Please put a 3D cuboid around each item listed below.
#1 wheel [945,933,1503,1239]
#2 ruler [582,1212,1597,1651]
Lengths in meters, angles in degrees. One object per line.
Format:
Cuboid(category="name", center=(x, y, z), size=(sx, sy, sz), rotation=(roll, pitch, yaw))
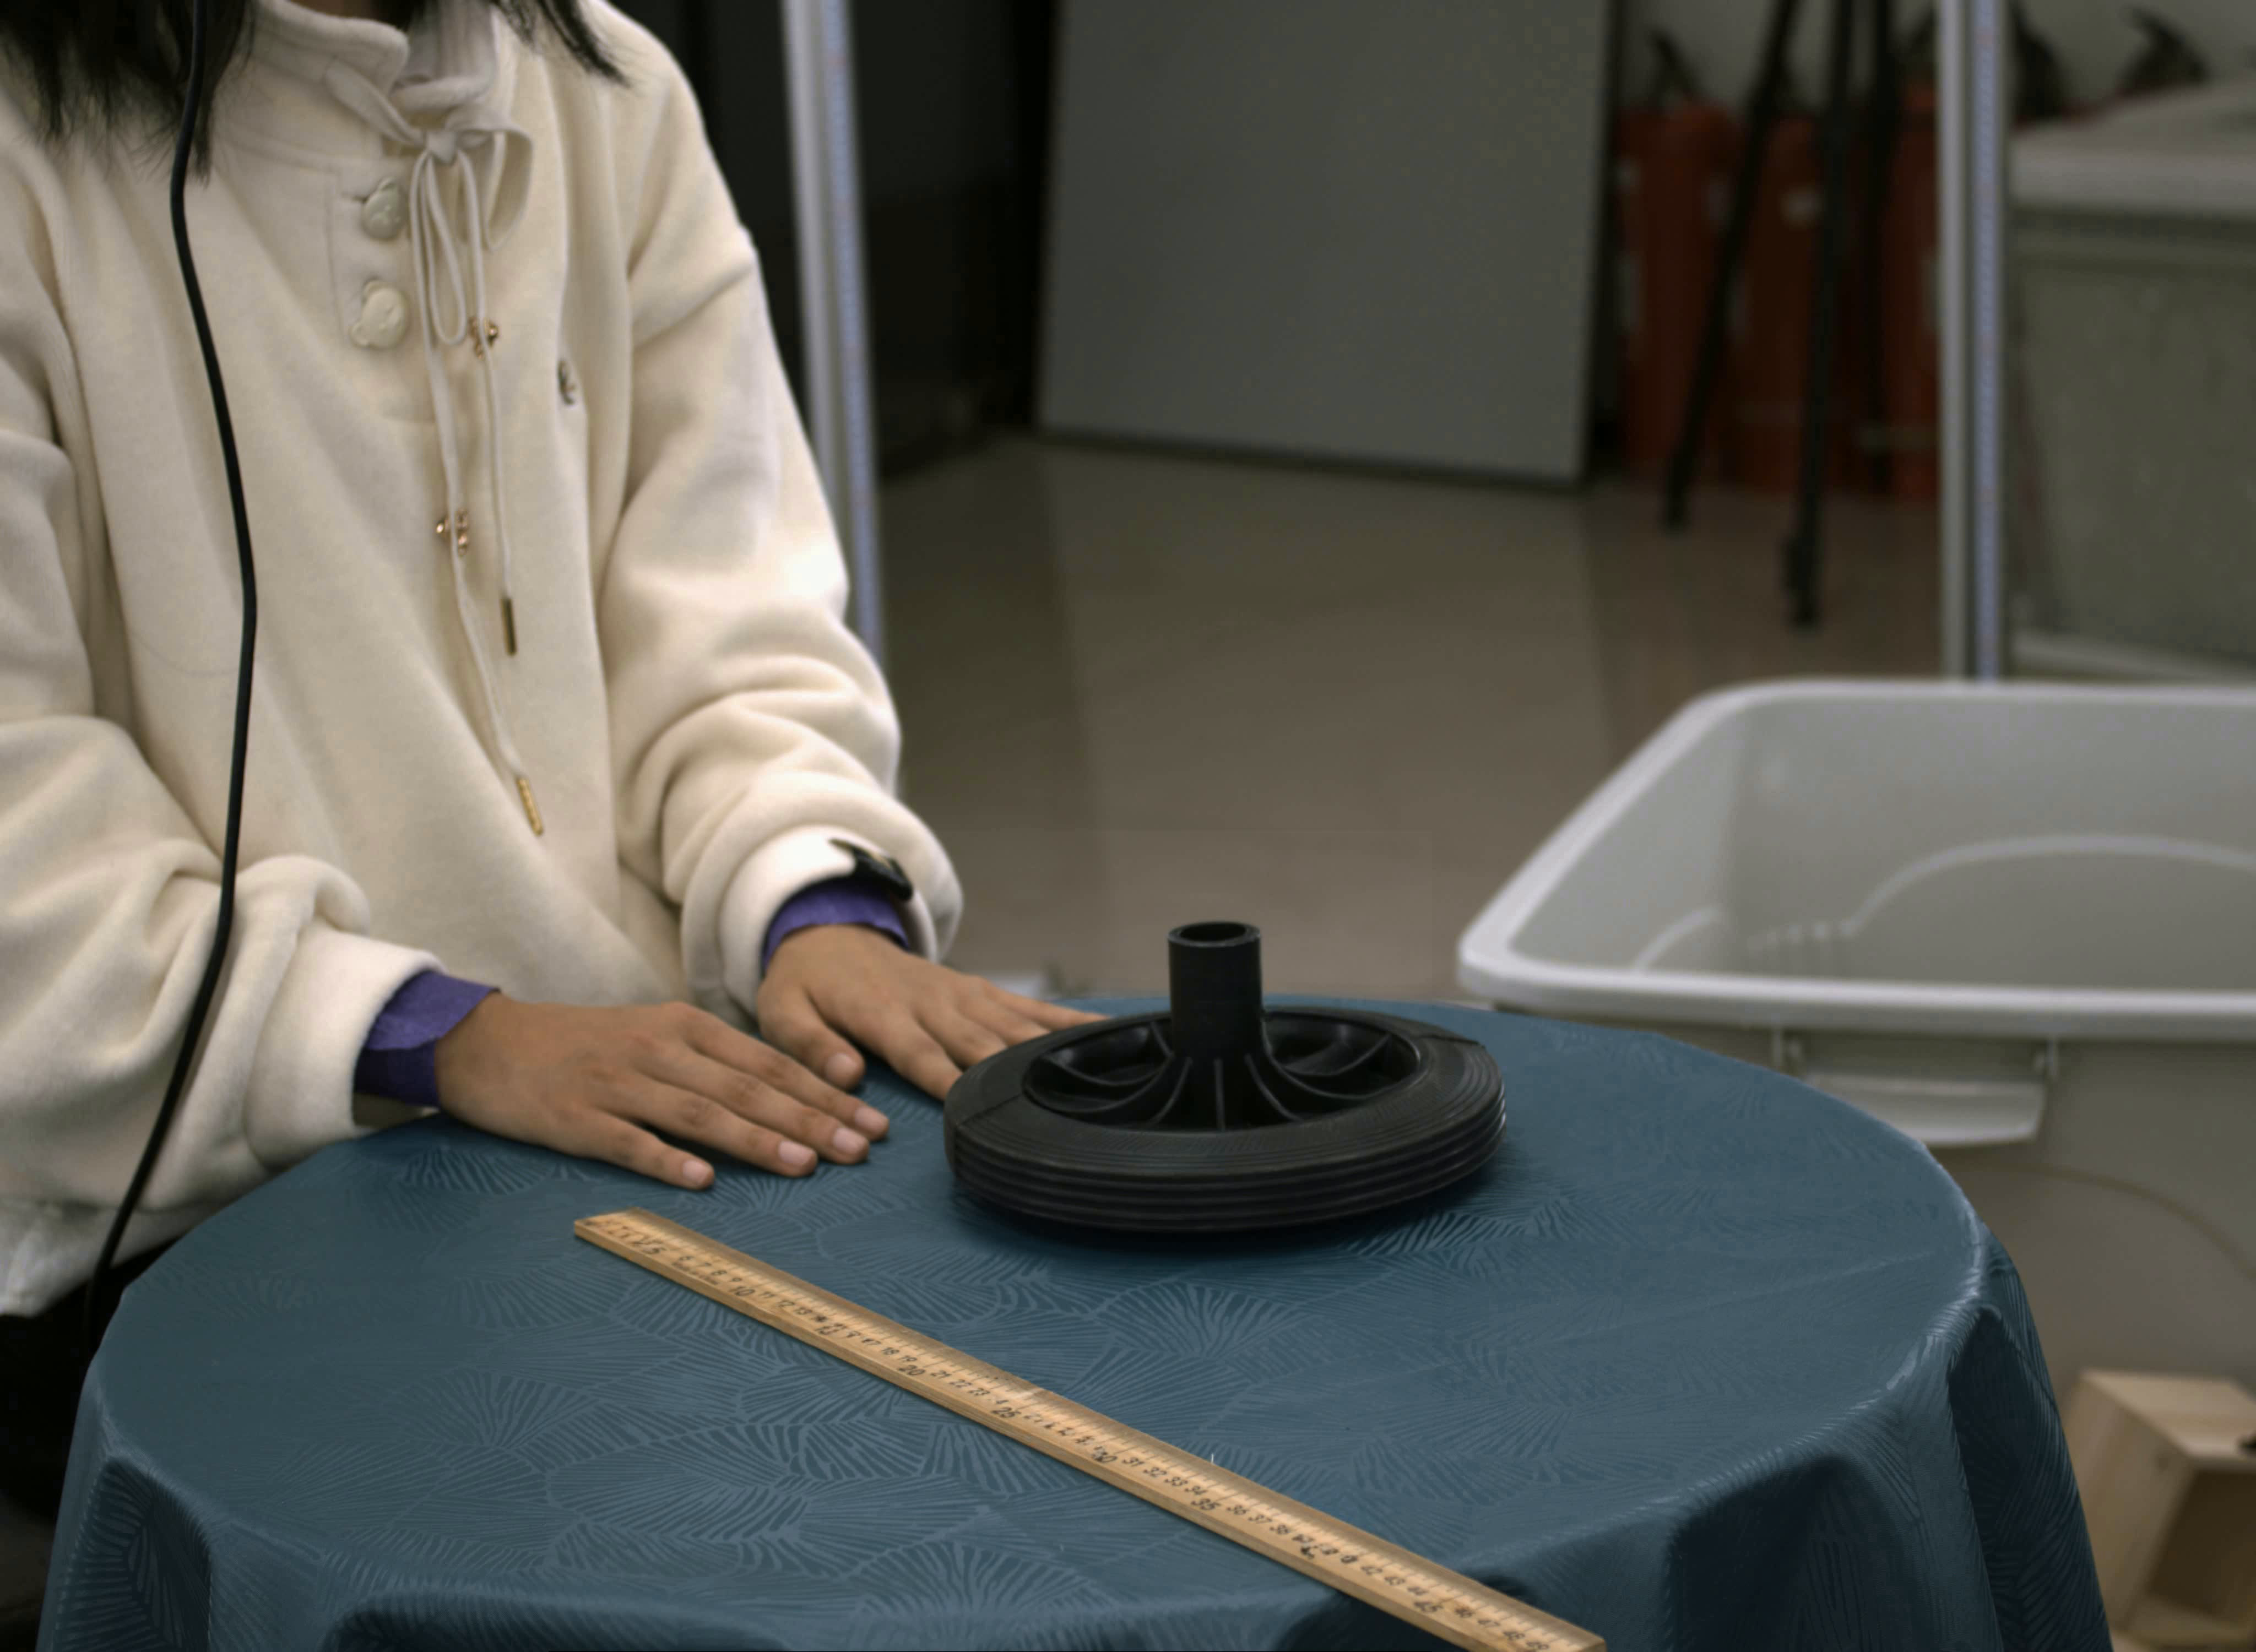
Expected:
Cuboid(category="wheel", center=(0.031, 0.077, 1.778), size=(0.187, 0.080, 0.188), rotation=(1, 14, 19))
Cuboid(category="ruler", center=(-0.030, 0.171, 1.566), size=(0.026, 0.006, 0.506), rotation=(-14, 17, -31))
